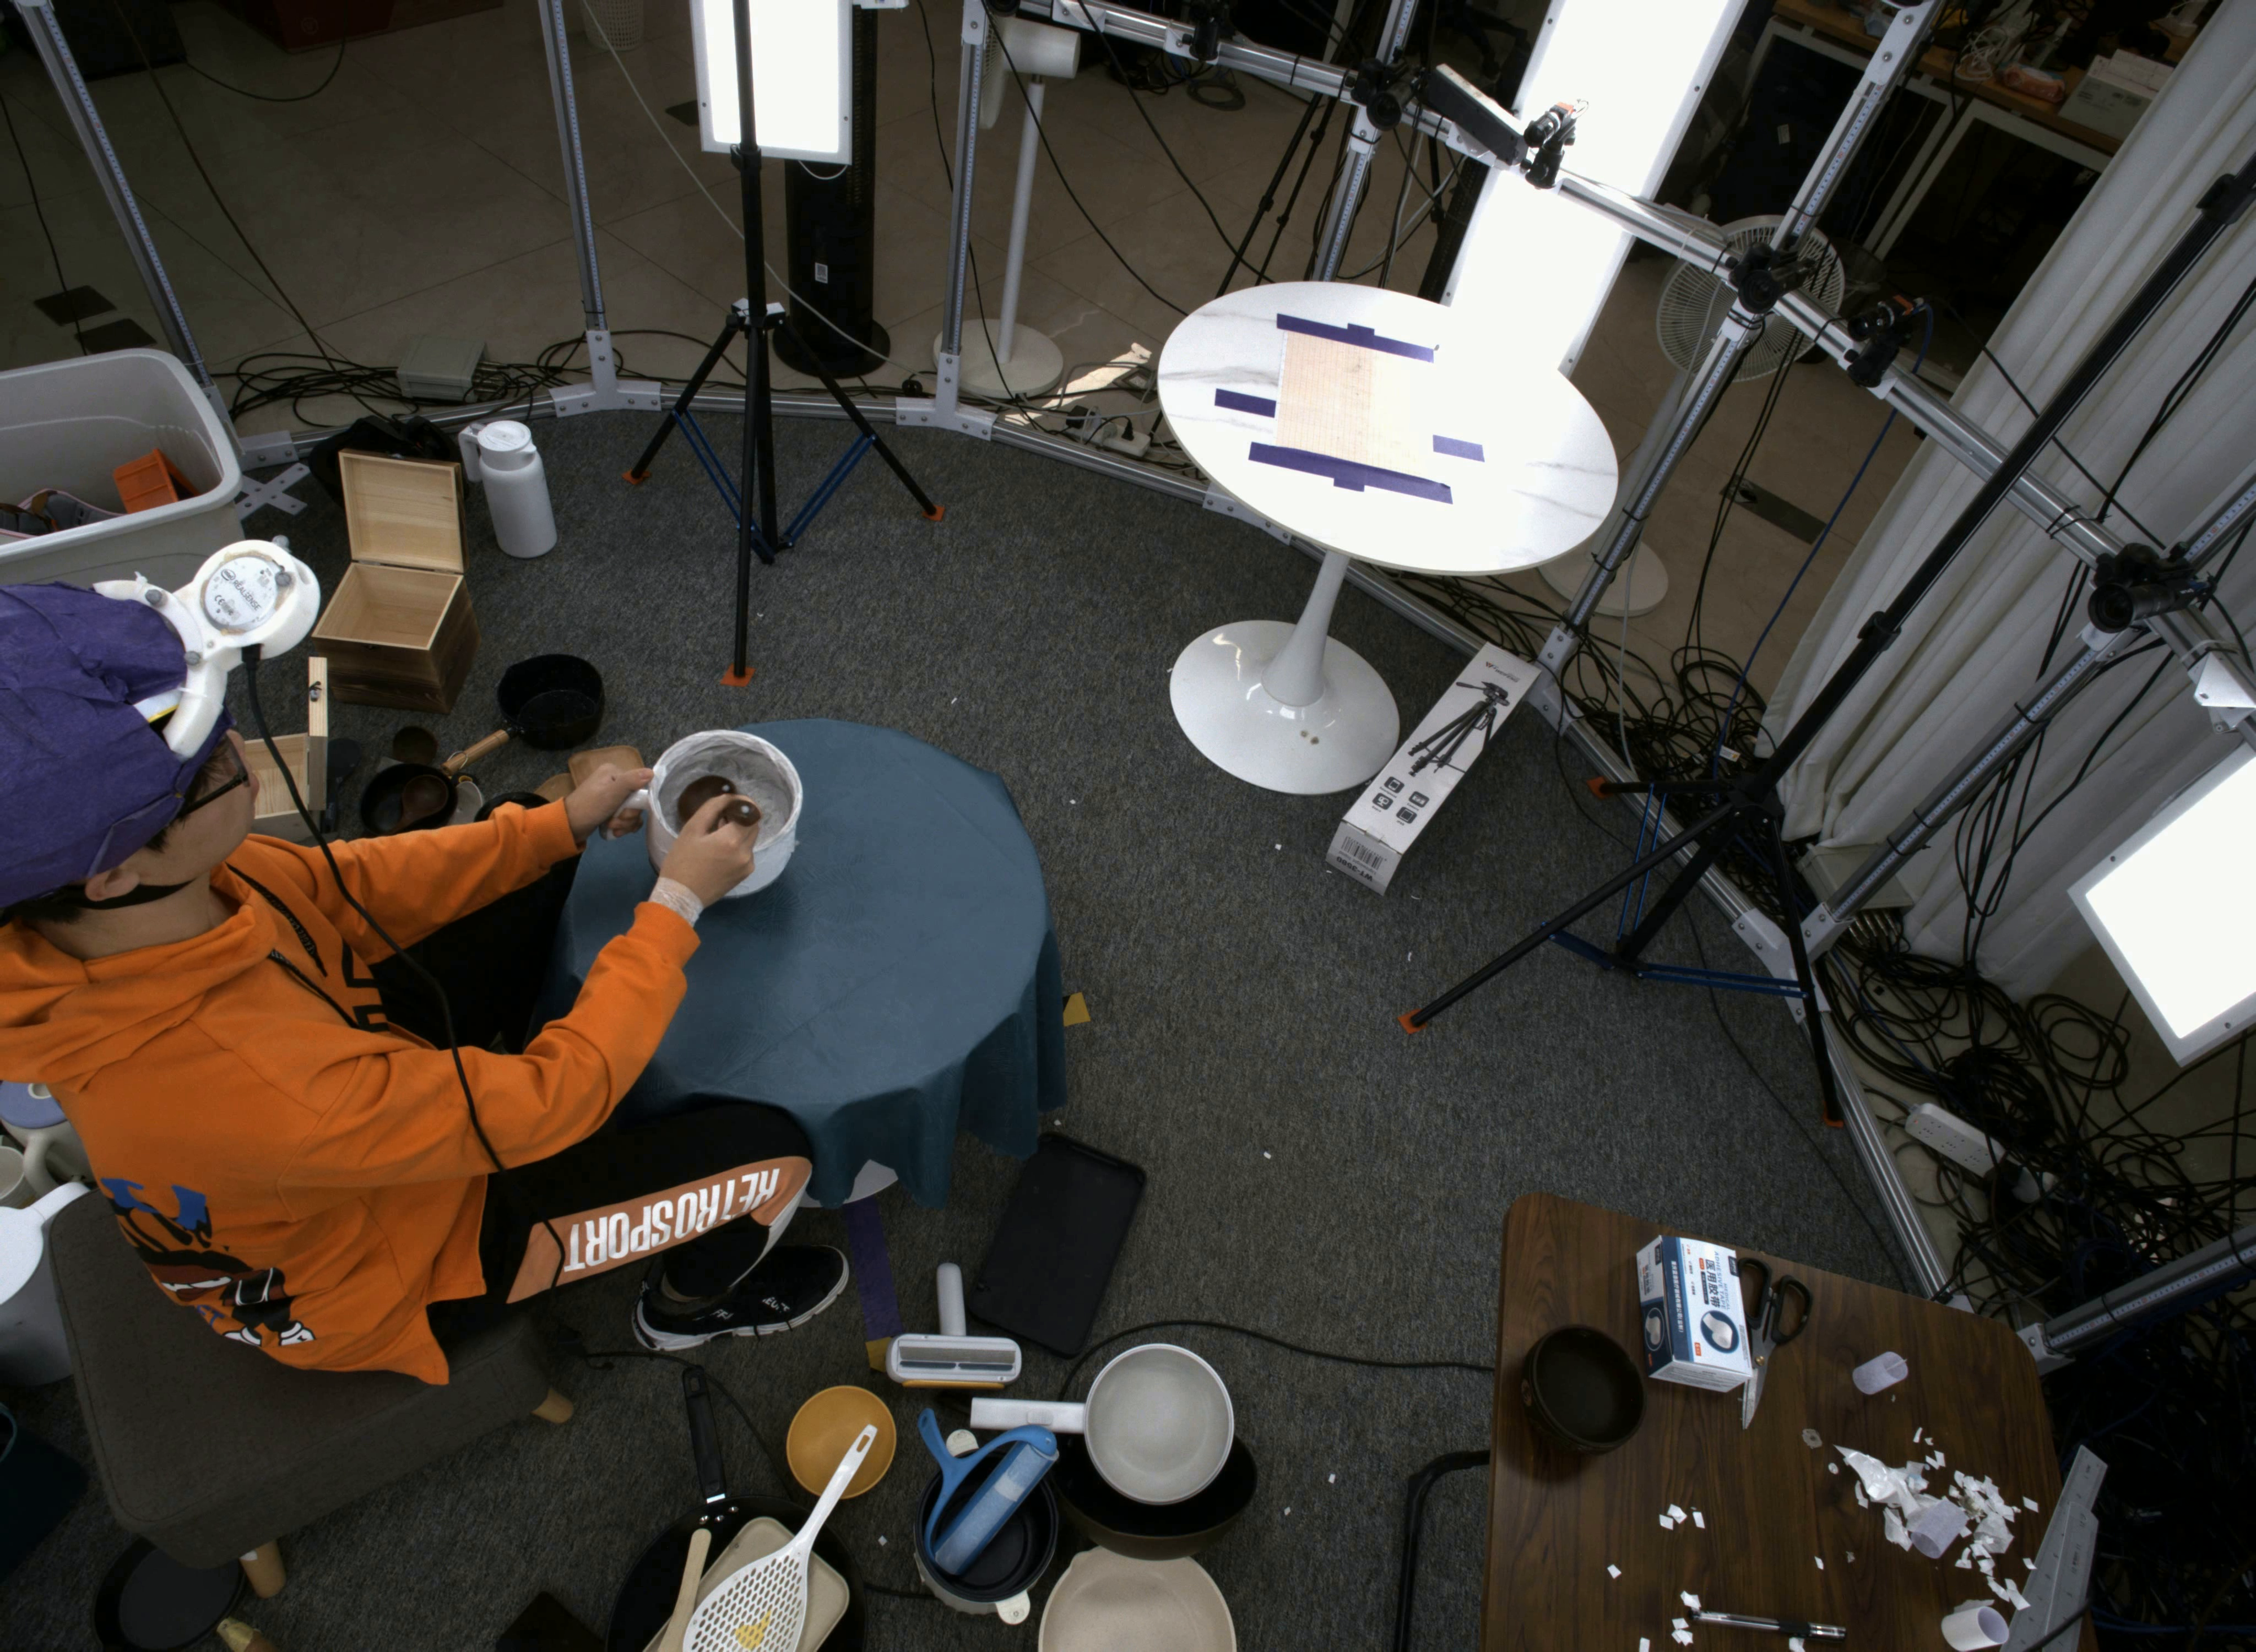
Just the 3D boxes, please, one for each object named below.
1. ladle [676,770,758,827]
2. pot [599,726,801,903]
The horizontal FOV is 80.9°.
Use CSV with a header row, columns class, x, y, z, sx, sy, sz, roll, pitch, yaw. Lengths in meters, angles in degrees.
class,x,y,z,sx,sy,sz,roll,pitch,yaw
ladle,-0.465,-0.033,1.461,0.076,0.254,0.066,-46,107,-18
pot,-0.515,-0.012,1.539,0.236,0.138,0.175,4,57,-21
